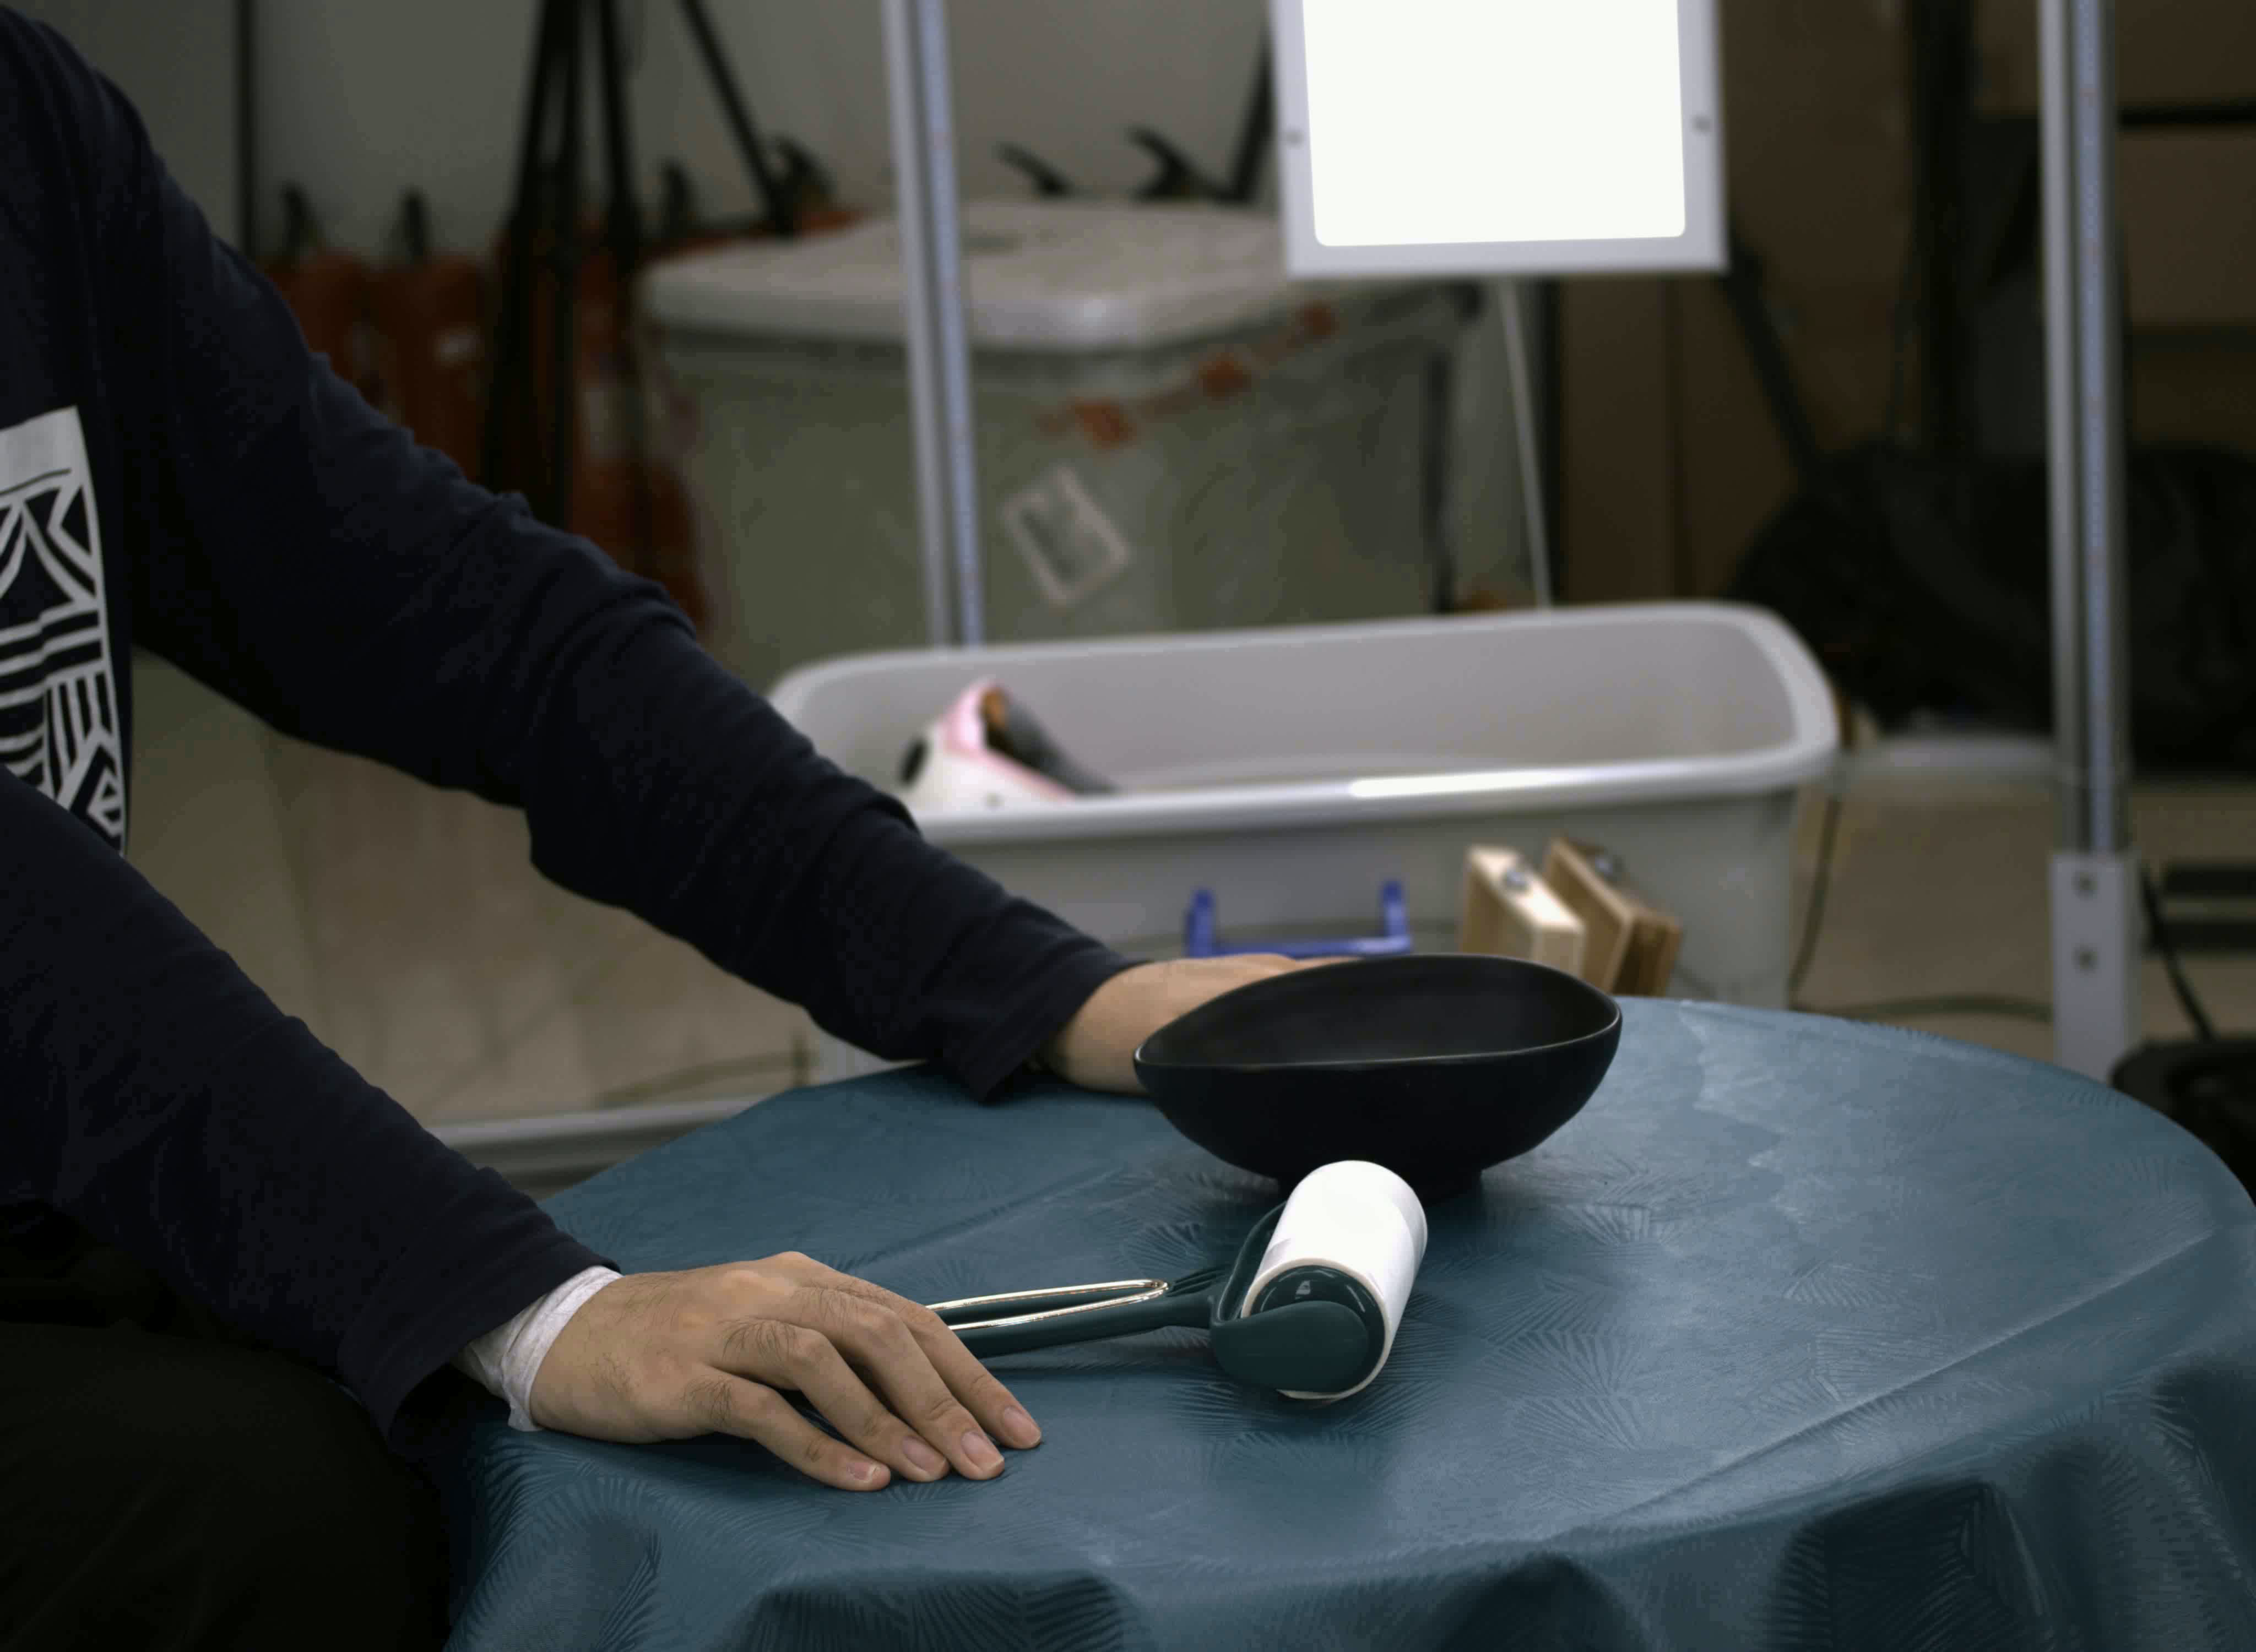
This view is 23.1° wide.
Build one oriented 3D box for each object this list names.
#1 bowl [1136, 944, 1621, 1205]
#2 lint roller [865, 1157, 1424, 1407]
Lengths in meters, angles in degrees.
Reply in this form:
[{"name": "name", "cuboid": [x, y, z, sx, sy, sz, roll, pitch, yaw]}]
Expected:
[{"name": "bowl", "cuboid": [0.086, 0.091, 1.879, 0.172, 0.067, 0.135, -3, 14, 15]}, {"name": "lint roller", "cuboid": [0.000, 0.149, 1.734, 0.181, 0.048, 0.133, -8, 14, 13]}]
